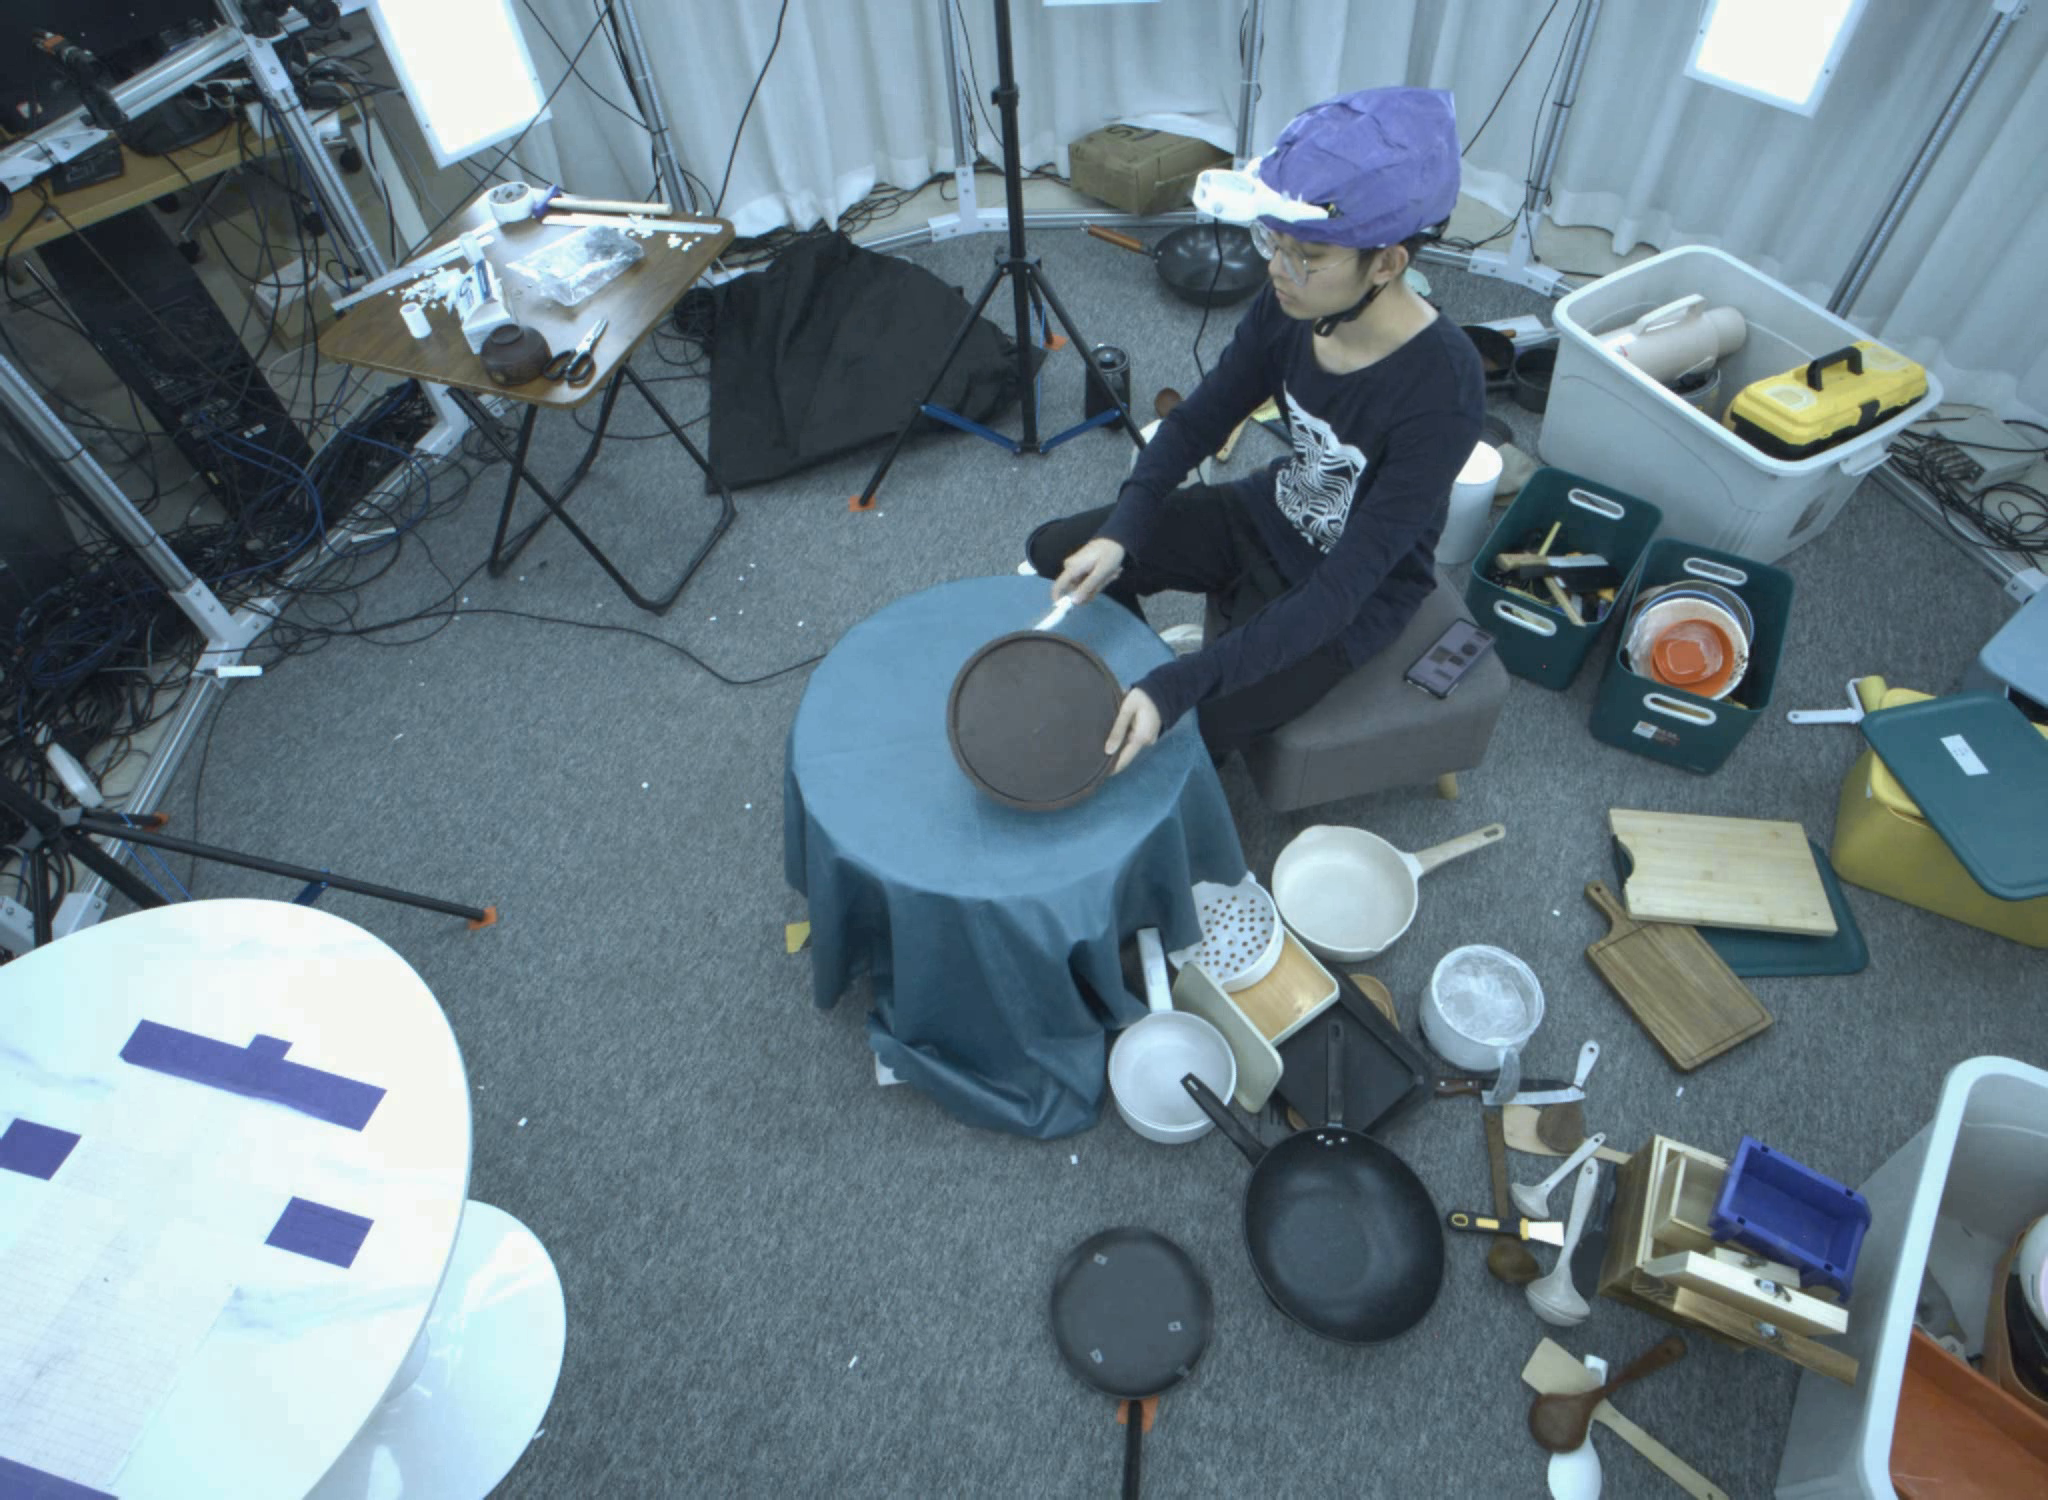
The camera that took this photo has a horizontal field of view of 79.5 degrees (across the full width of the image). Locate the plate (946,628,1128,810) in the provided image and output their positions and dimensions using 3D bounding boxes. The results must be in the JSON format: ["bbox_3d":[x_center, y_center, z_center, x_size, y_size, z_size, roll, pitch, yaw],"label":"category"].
[{"bbox_3d":[0.018,-0.043,1.698,0.257,0.029,0.254,1,87,-12],"label":"plate"}]

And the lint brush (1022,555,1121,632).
[{"bbox_3d":[0.039,-0.198,1.850,0.310,0.059,0.021,-43,103,-20],"label":"lint brush"}]
